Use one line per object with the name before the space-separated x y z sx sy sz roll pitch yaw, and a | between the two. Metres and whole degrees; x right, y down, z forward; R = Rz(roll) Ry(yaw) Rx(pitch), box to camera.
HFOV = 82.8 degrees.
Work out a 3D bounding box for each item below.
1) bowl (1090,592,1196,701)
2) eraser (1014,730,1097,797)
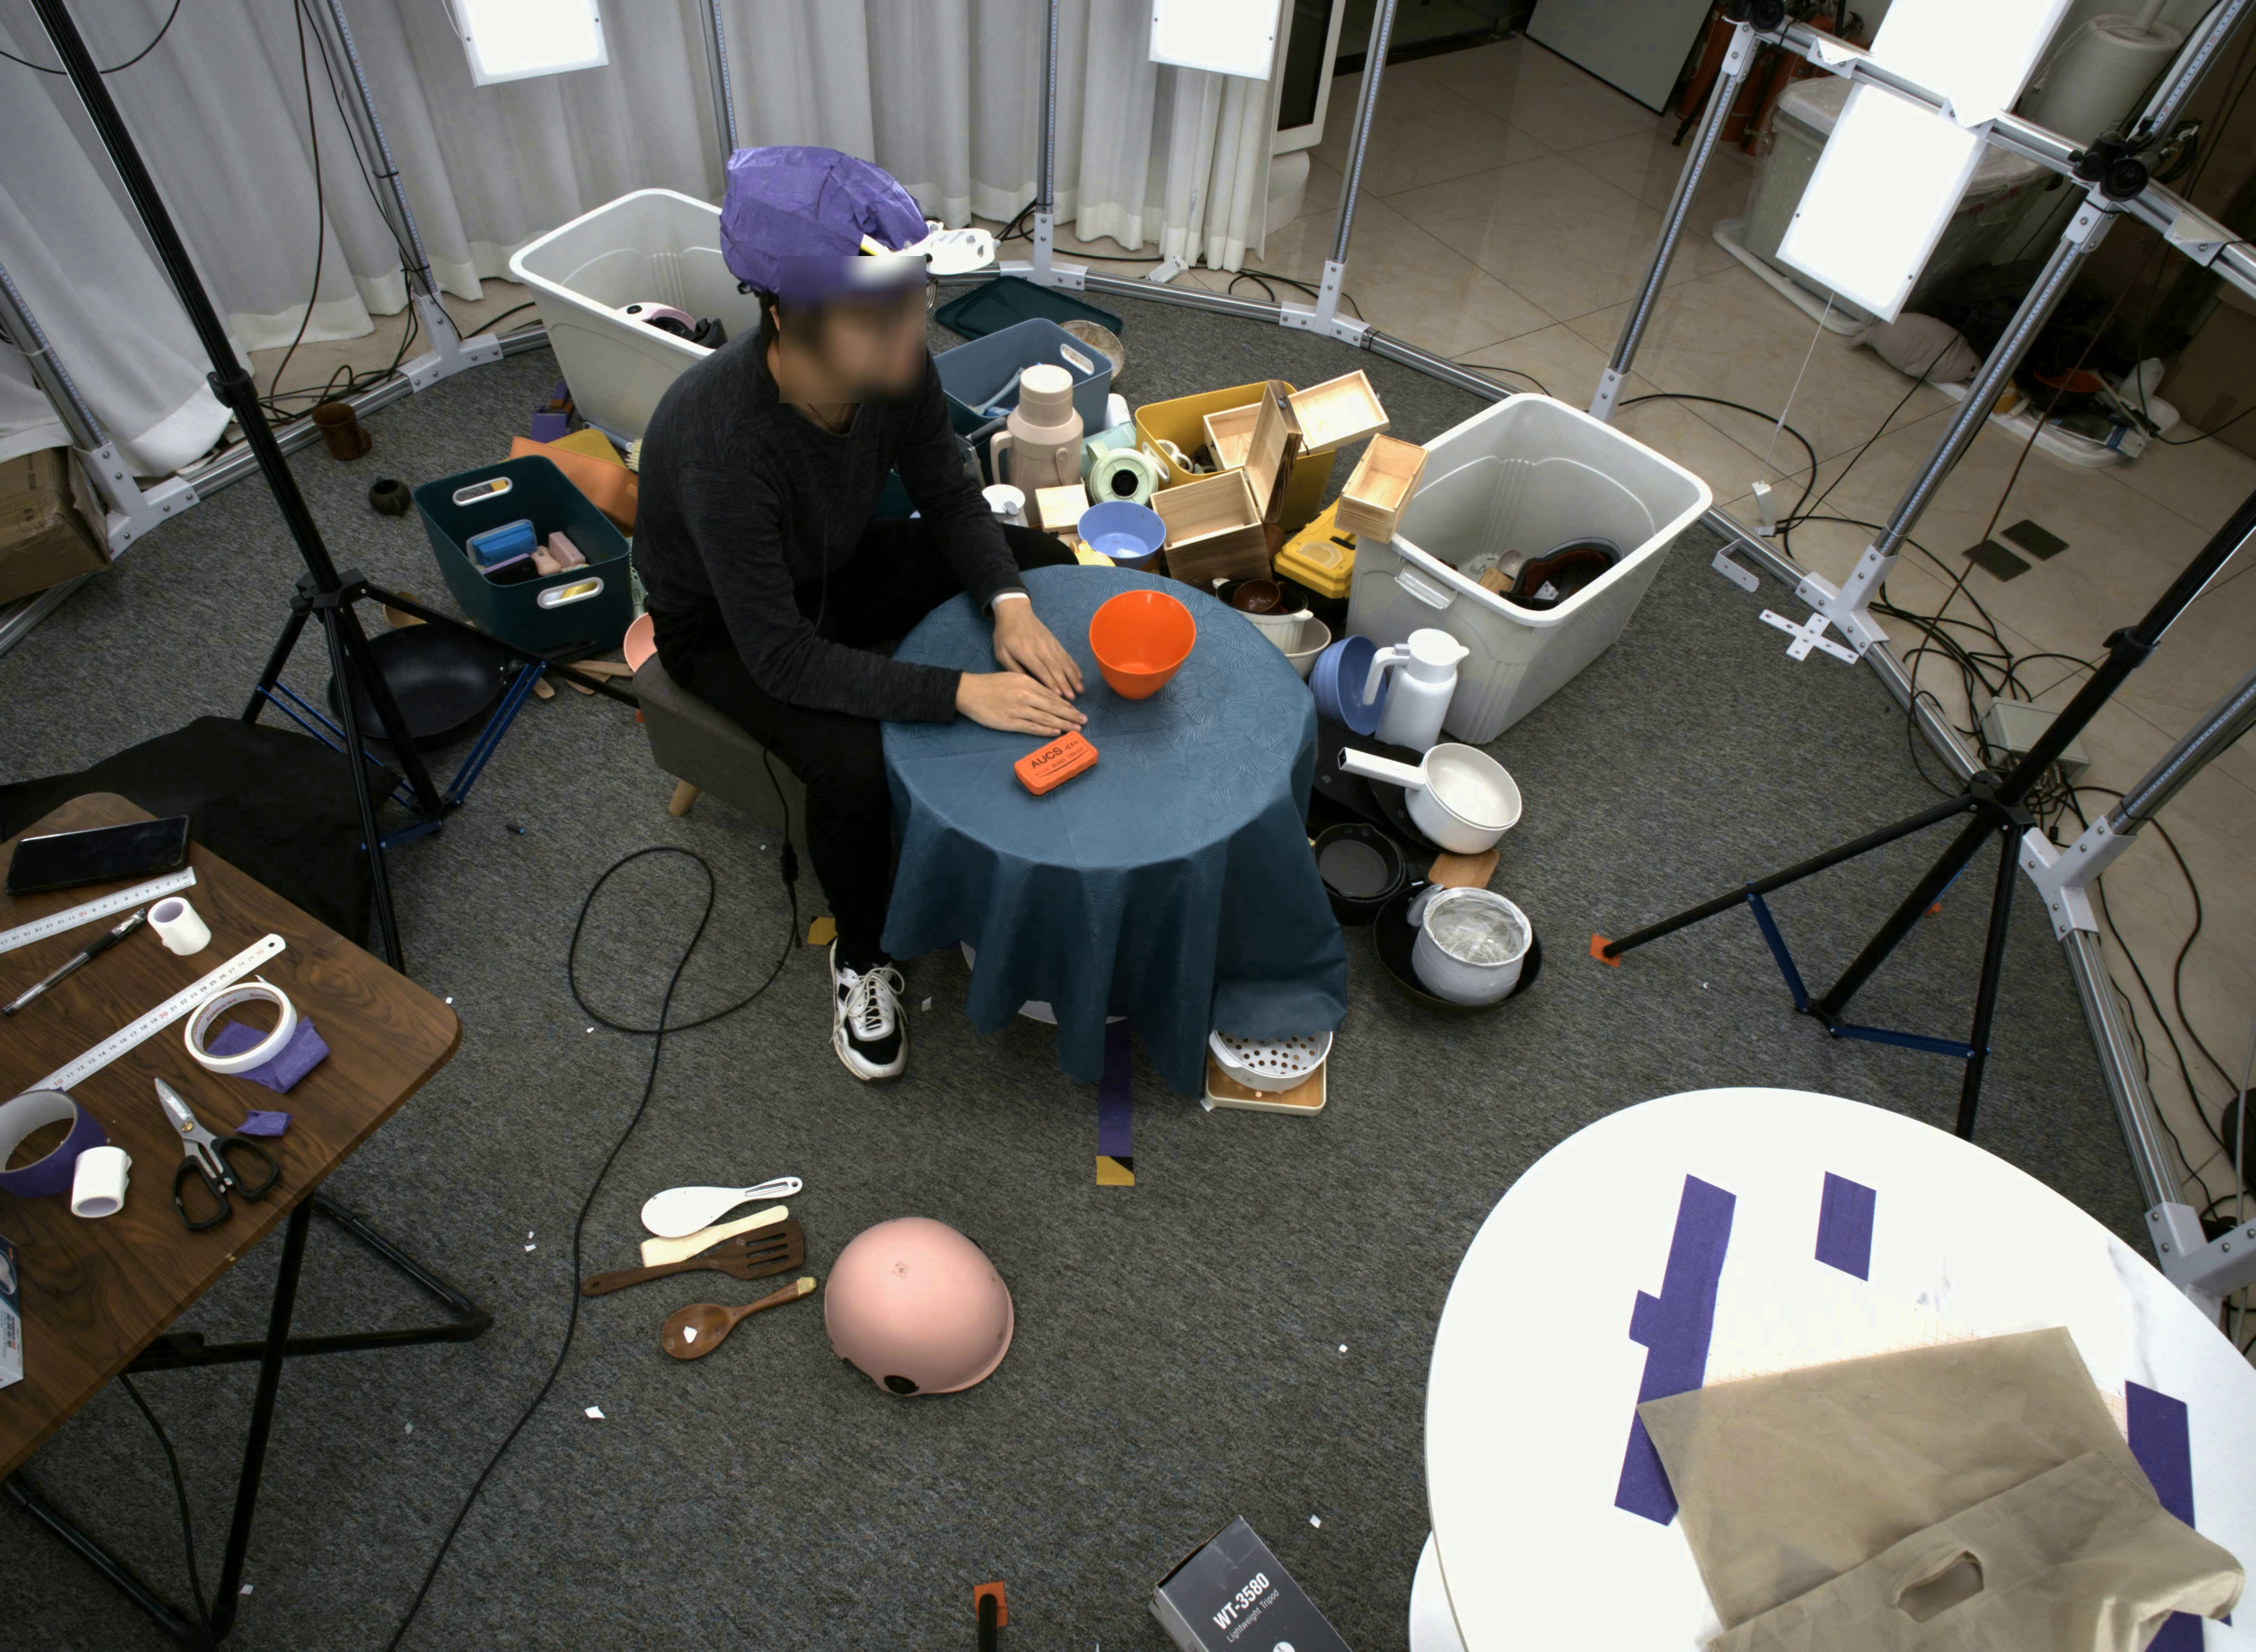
bowl | 0.018 -0.244 1.818 0.148 0.102 0.152 2 49 -3
eraser | -0.097 -0.085 1.718 0.109 0.022 0.060 -31 60 -28
